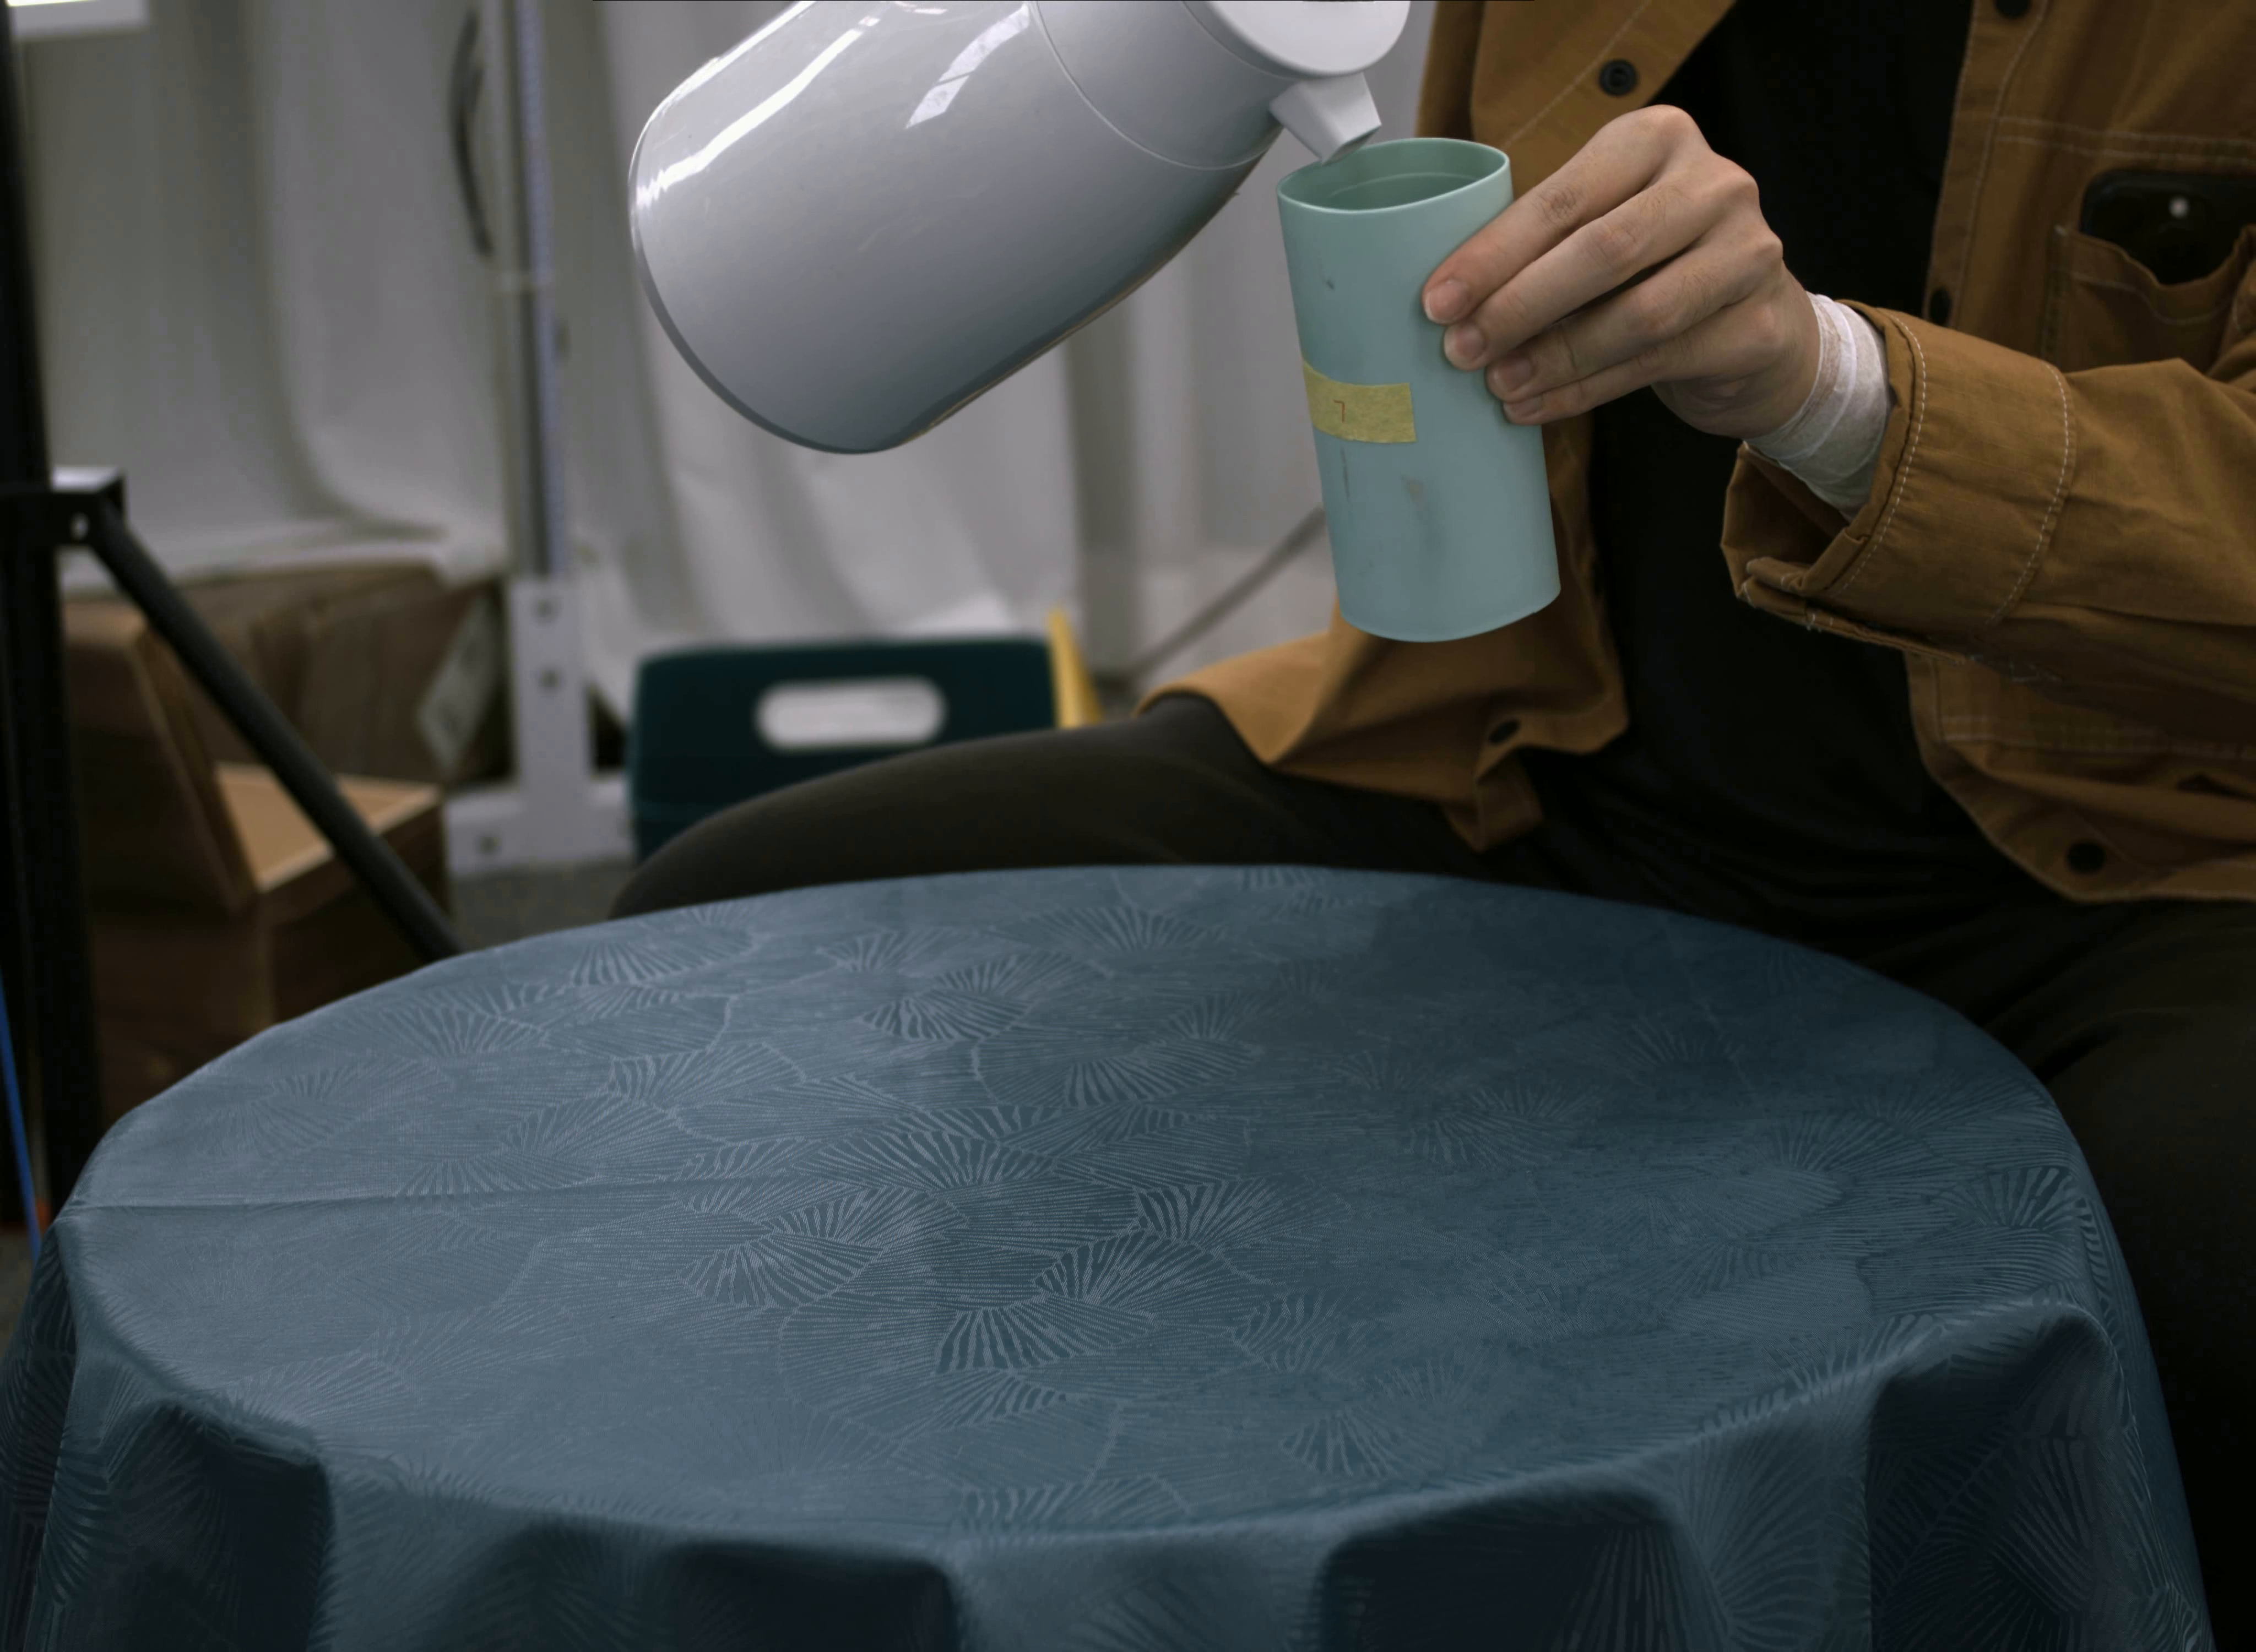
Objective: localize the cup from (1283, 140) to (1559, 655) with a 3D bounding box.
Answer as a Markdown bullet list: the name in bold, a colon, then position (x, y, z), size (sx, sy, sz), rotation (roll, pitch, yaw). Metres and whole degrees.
- **cup**: position (0.086, -0.122, 1.516), size (0.066, 0.132, 0.067), rotation (-8, 23, 2)

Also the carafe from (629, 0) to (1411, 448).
- **carafe**: position (-0.036, -0.233, 1.572), size (0.130, 0.168, 0.252), rotation (-31, 2, -42)
